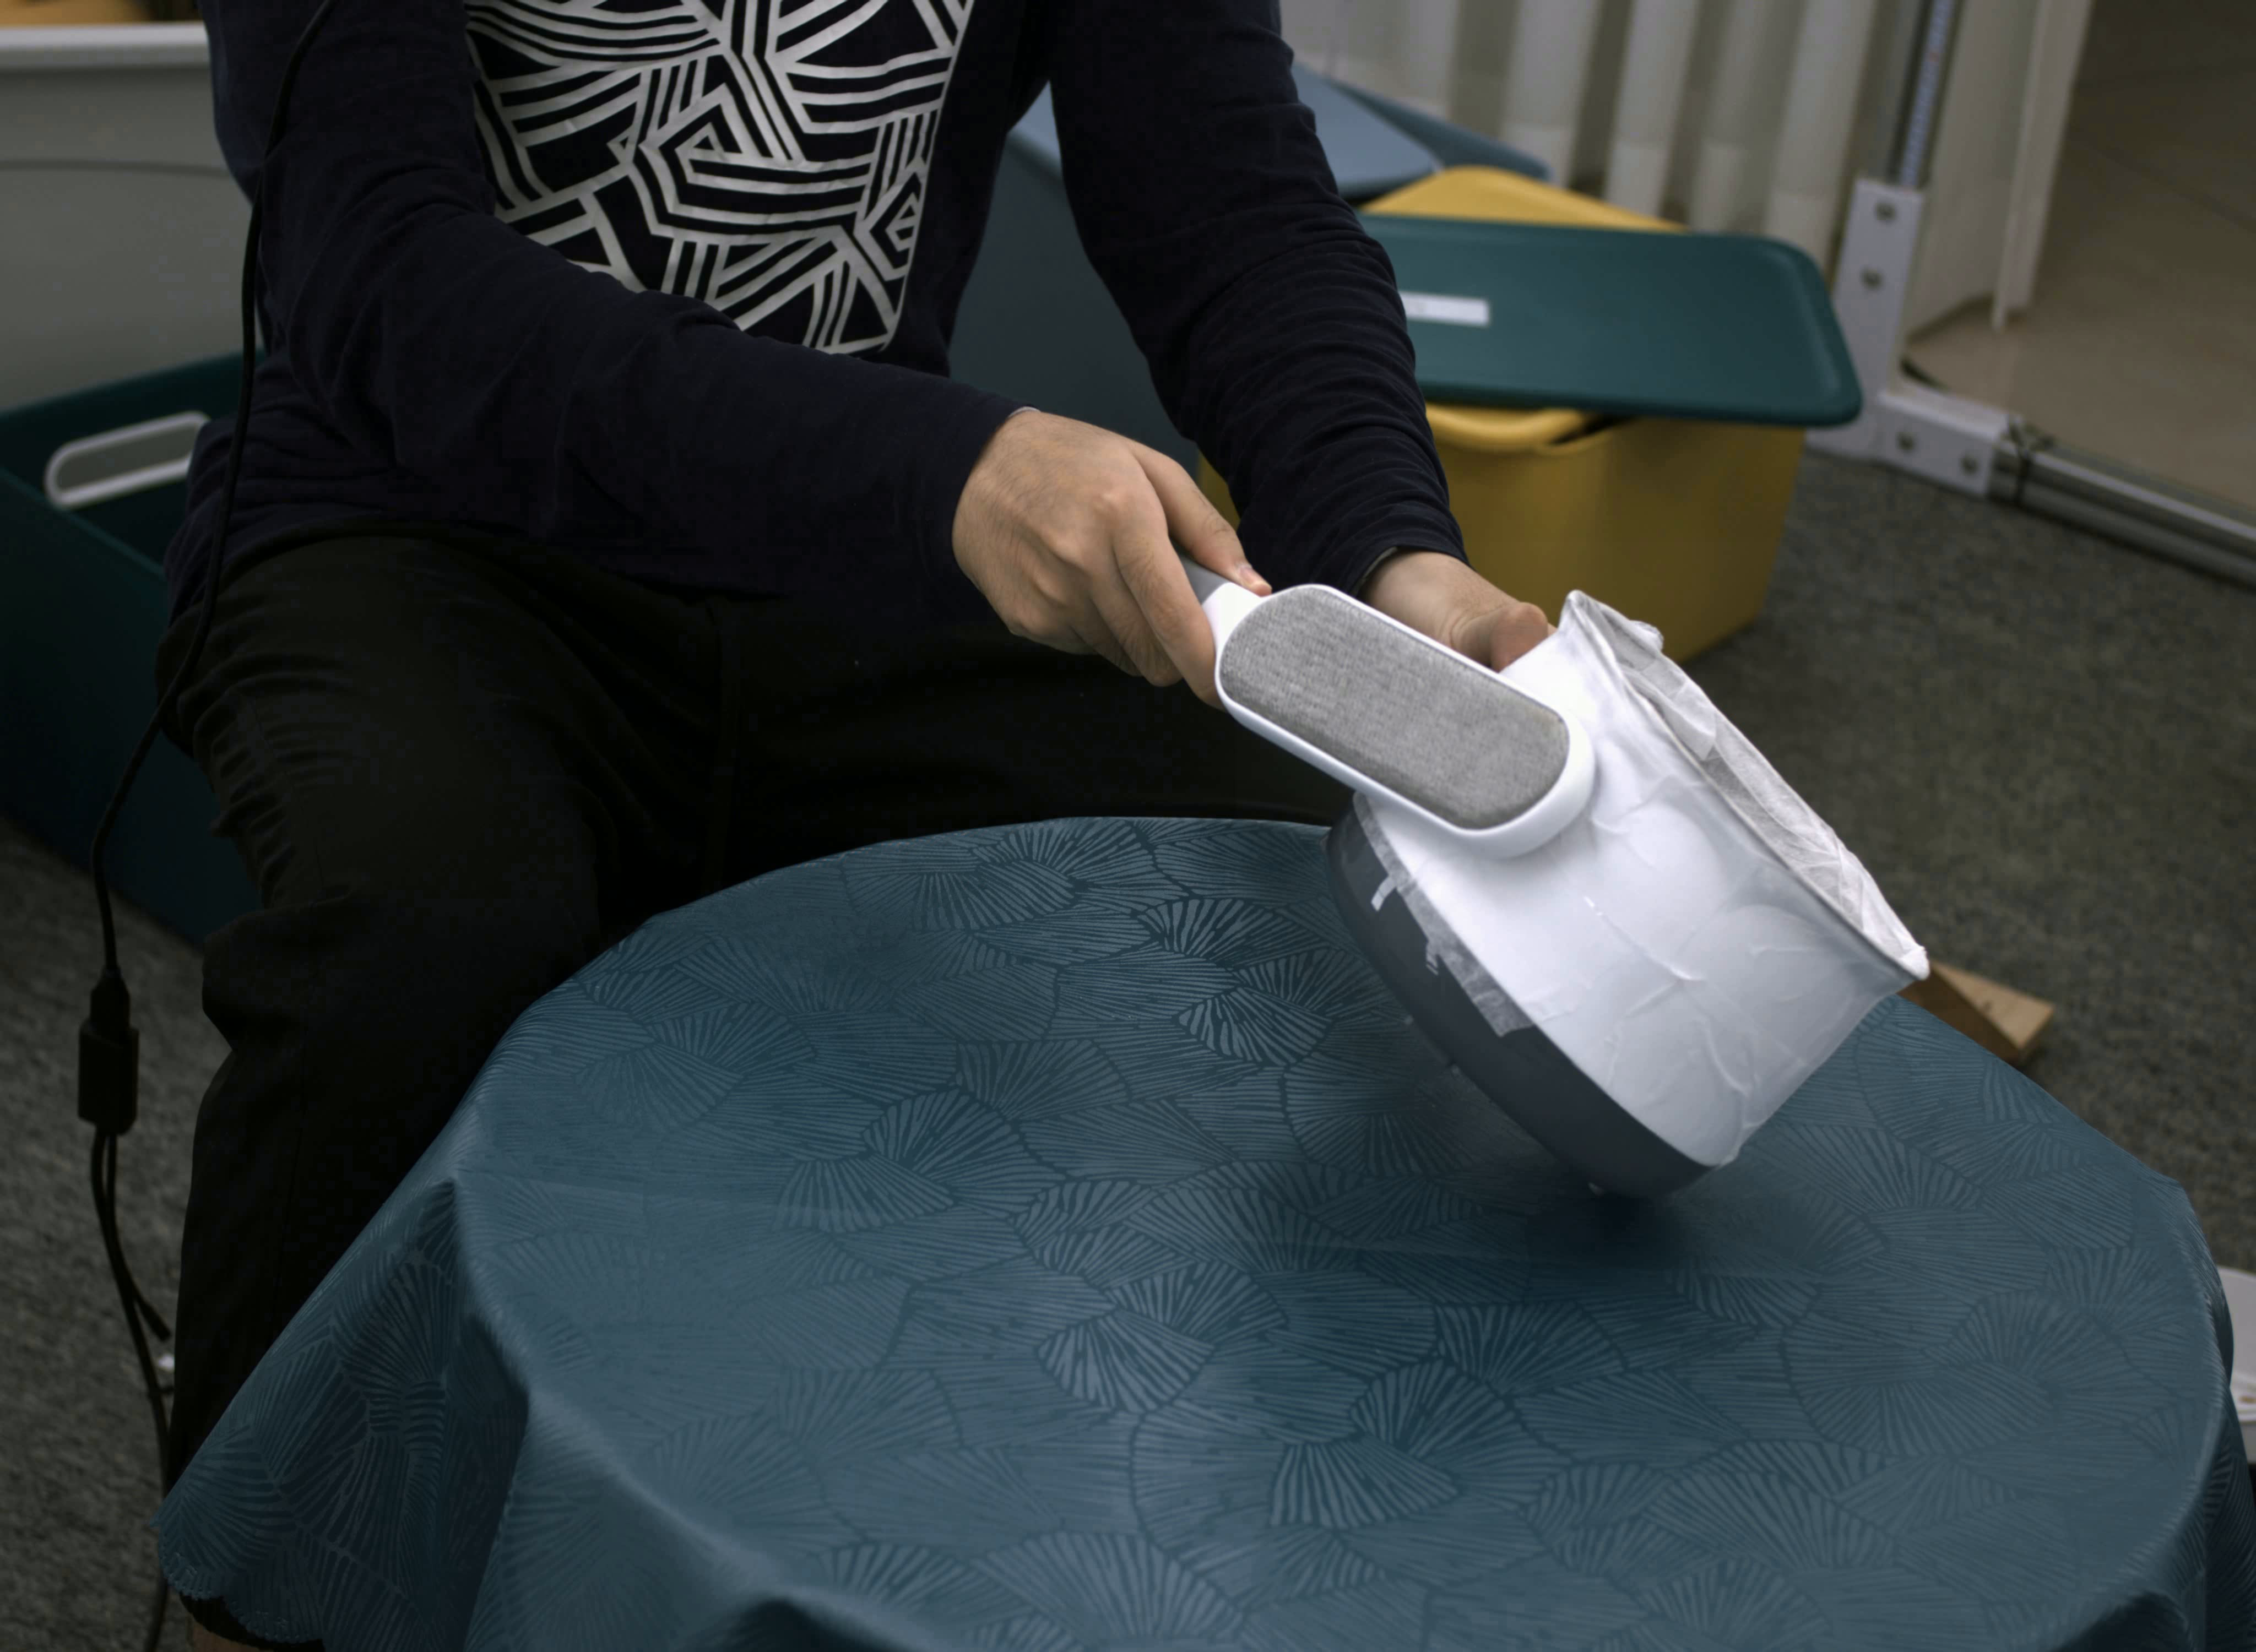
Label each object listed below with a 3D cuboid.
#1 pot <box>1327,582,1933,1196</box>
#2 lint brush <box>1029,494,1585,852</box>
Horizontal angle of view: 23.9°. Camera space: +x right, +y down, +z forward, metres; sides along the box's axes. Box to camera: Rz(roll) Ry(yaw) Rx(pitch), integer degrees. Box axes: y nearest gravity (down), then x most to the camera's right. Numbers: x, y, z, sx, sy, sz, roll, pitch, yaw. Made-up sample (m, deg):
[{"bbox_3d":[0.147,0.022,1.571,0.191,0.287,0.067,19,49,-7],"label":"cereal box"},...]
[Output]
[{"bbox_3d":[0.159,0.011,1.824,0.177,0.136,0.236,42,12,-34],"label":"pot"},{"bbox_3d":[0.054,-0.061,1.821,0.021,0.060,0.311,40,-6,-39],"label":"lint brush"}]
